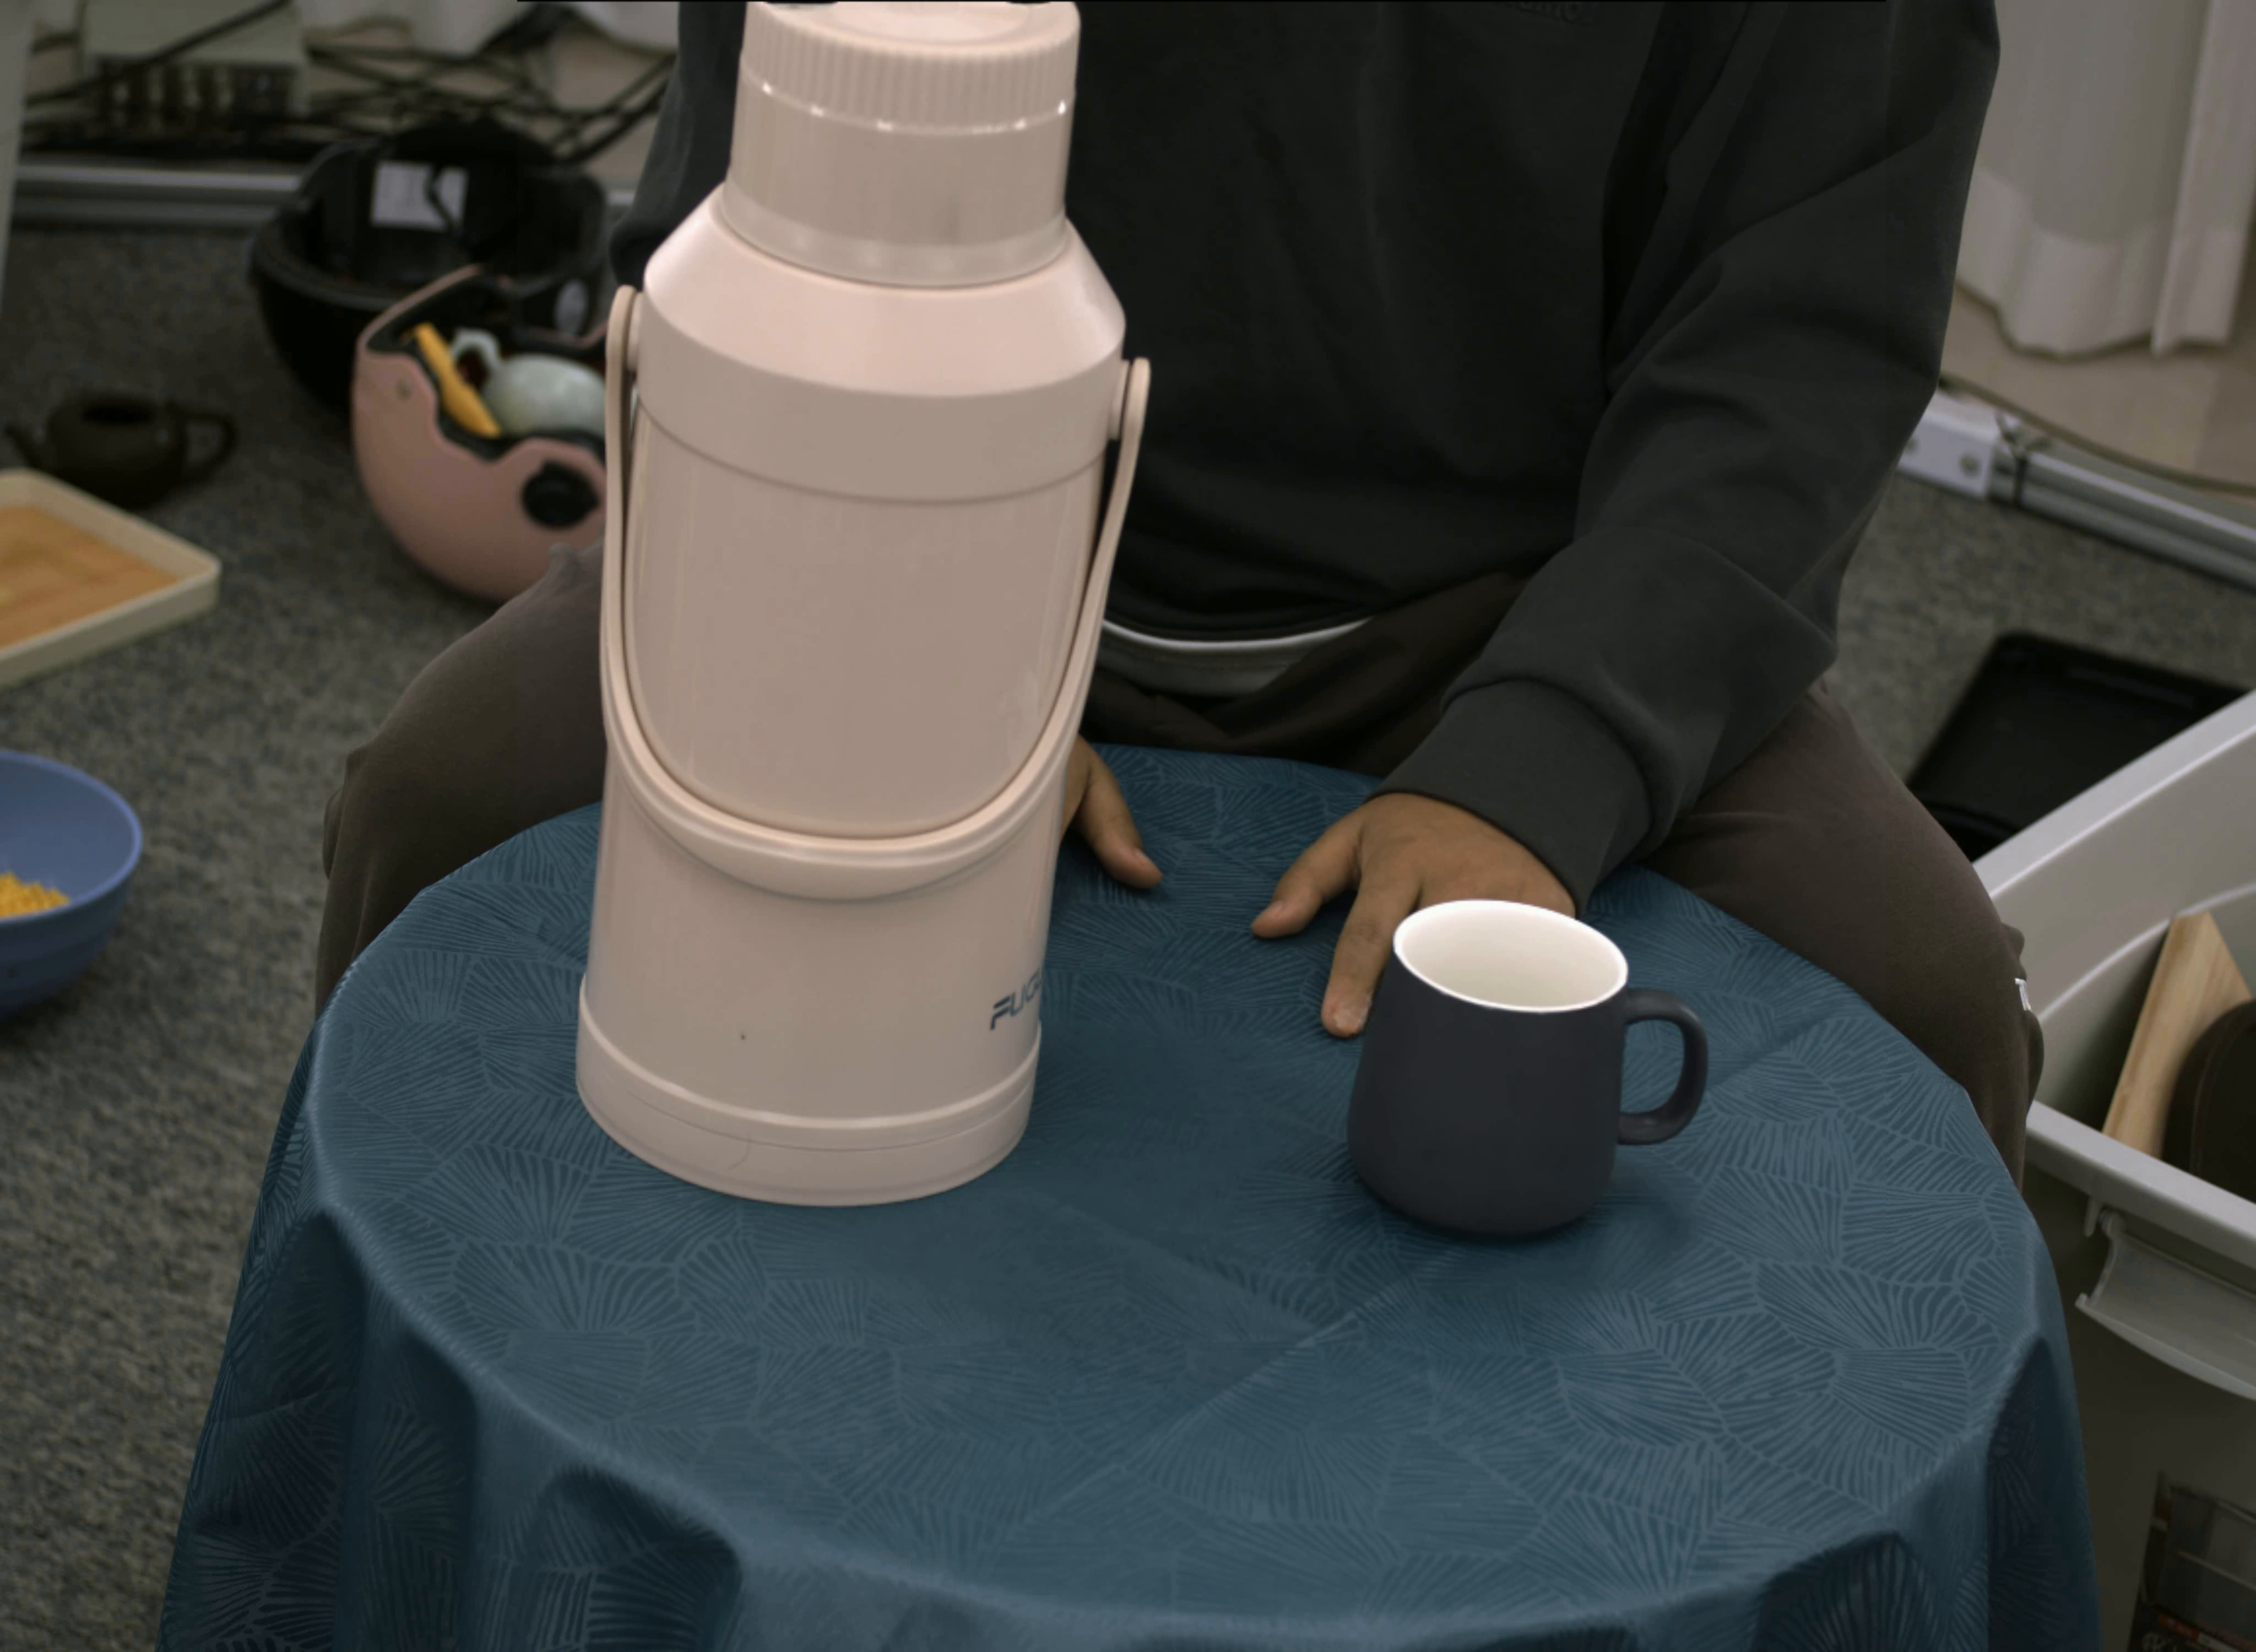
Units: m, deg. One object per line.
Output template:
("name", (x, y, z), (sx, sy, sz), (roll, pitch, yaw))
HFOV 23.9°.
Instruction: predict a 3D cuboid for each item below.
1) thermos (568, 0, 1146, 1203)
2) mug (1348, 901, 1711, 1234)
("thermos", (-0.089, -0.091, 1.770), (0.175, 0.405, 0.208), (8, 27, 1))
("mug", (0.139, 0.083, 1.819), (0.122, 0.089, 0.094), (2, 27, -10))
